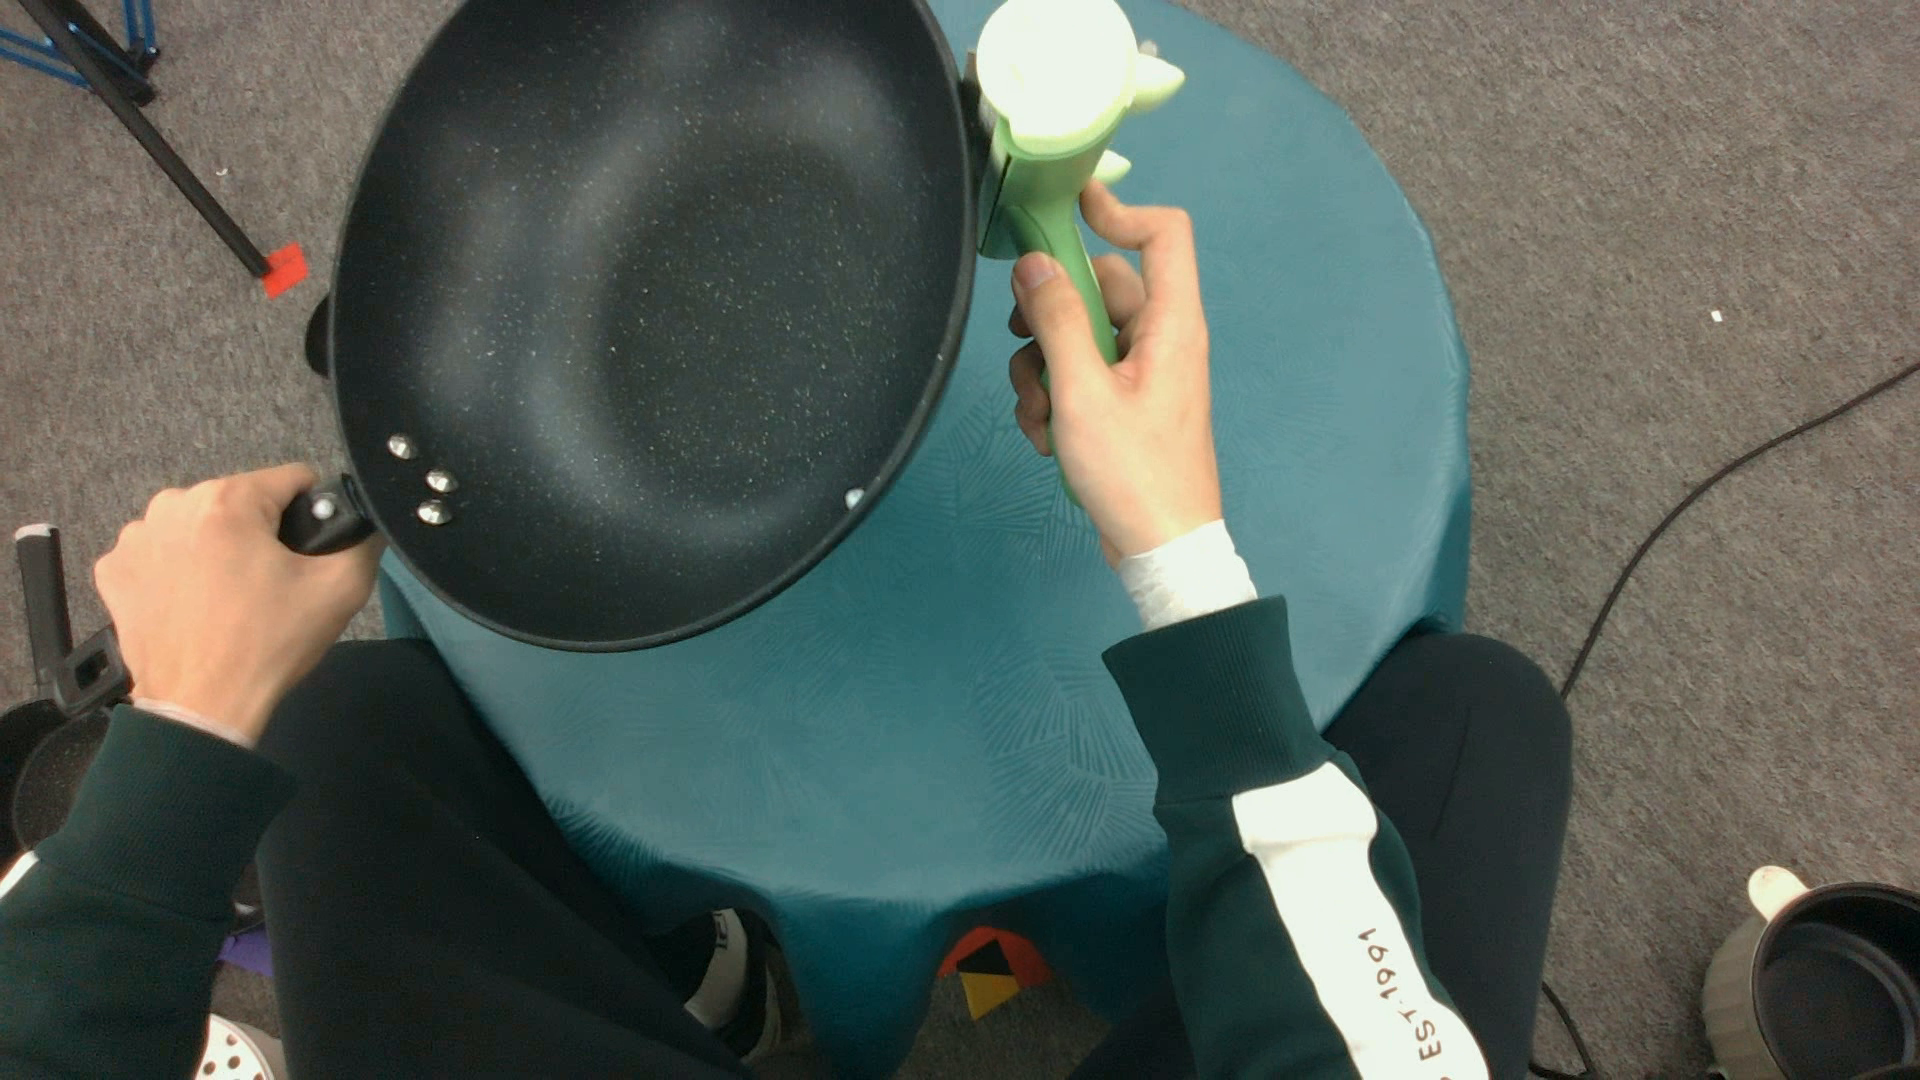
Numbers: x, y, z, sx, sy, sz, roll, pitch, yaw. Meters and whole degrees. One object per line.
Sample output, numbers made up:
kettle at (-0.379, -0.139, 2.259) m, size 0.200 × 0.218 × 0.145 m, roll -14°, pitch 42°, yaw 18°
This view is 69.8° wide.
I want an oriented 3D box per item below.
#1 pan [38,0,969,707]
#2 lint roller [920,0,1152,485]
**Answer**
pan at (-0.192, -0.068, 0.586) m, size 0.476 × 0.112 × 0.311 m, roll -38°, pitch 69°, yaw 13°
lint roller at (0.042, -0.119, 0.545) m, size 0.082 × 0.198 × 0.183 m, roll -22°, pitch 93°, yaw -3°
